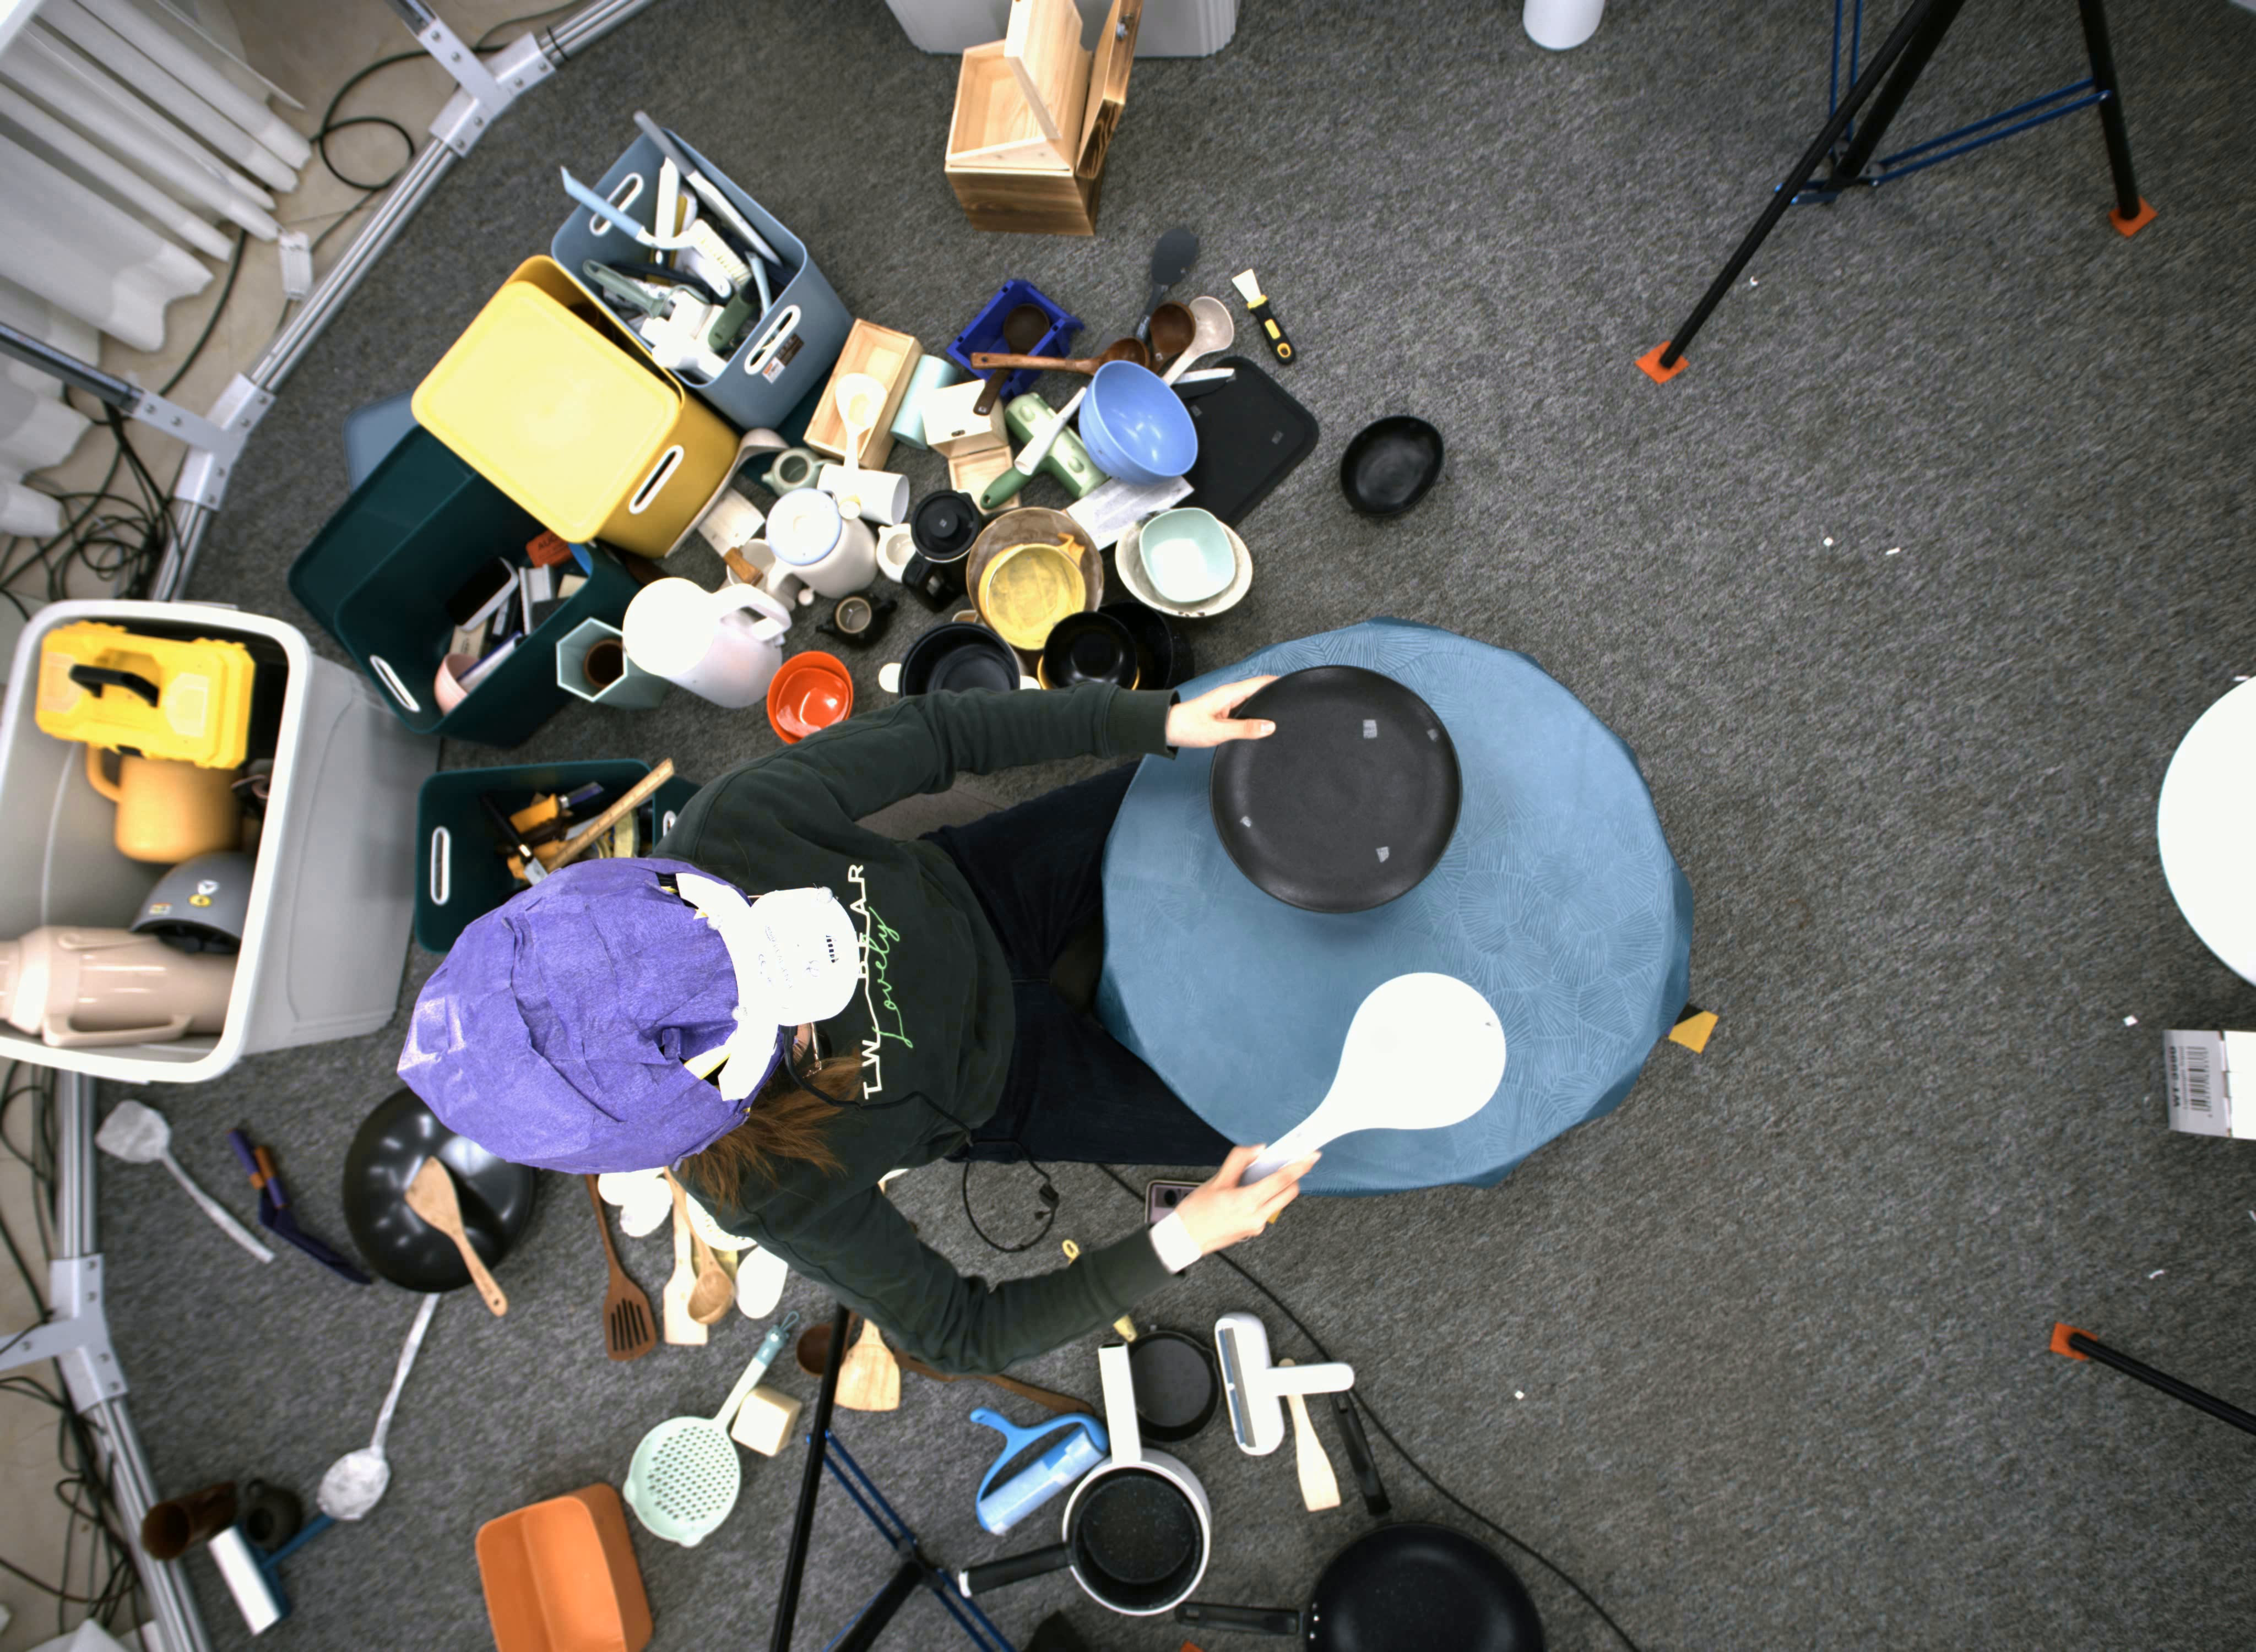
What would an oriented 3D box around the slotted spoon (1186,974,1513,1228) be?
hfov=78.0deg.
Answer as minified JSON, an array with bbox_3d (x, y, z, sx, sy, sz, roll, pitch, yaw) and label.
[{"bbox_3d":[0.196,0.266,1.276,0.352,0.046,0.135,-37,75,11],"label":"slotted spoon"}]

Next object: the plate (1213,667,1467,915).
[{"bbox_3d":[0.205,-0.034,1.342,0.245,0.023,0.247,2,103,10],"label":"plate"}]
